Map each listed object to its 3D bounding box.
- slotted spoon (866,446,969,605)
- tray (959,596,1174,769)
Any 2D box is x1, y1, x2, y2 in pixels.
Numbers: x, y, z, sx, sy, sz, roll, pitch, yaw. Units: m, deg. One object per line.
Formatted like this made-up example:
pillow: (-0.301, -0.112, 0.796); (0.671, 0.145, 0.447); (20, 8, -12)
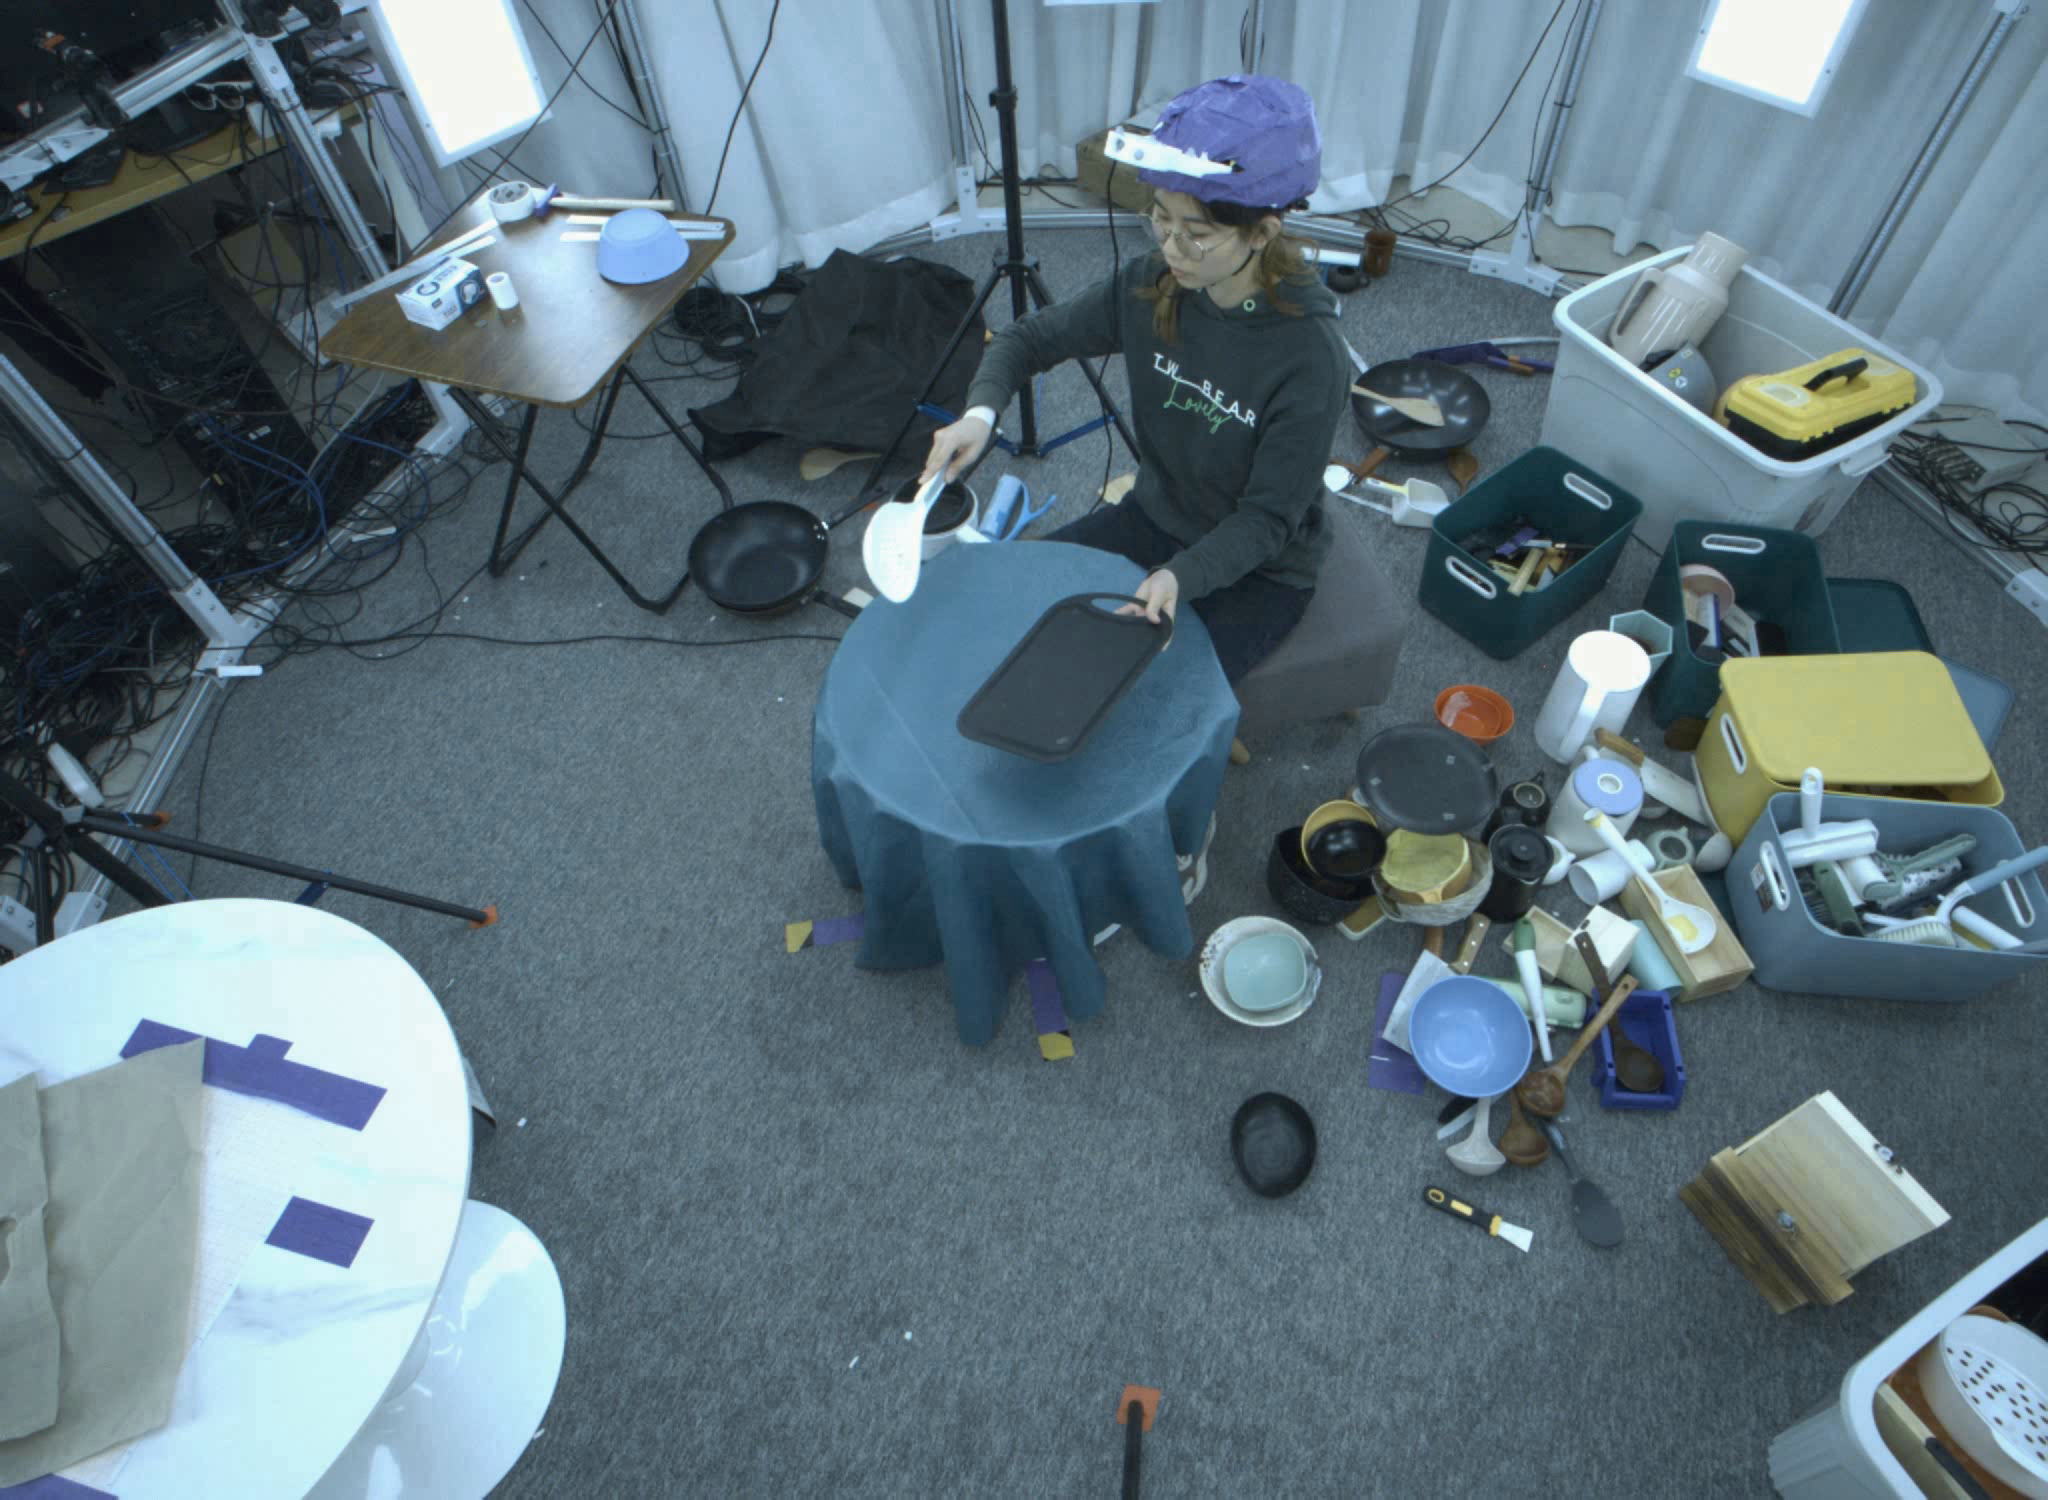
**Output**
slotted spoon: (-0.148, -0.342, 1.757); (0.045, 0.138, 0.350); (3, 45, 28)
tray: (0.063, -0.107, 1.704); (0.206, 0.010, 0.327); (19, 56, 32)
